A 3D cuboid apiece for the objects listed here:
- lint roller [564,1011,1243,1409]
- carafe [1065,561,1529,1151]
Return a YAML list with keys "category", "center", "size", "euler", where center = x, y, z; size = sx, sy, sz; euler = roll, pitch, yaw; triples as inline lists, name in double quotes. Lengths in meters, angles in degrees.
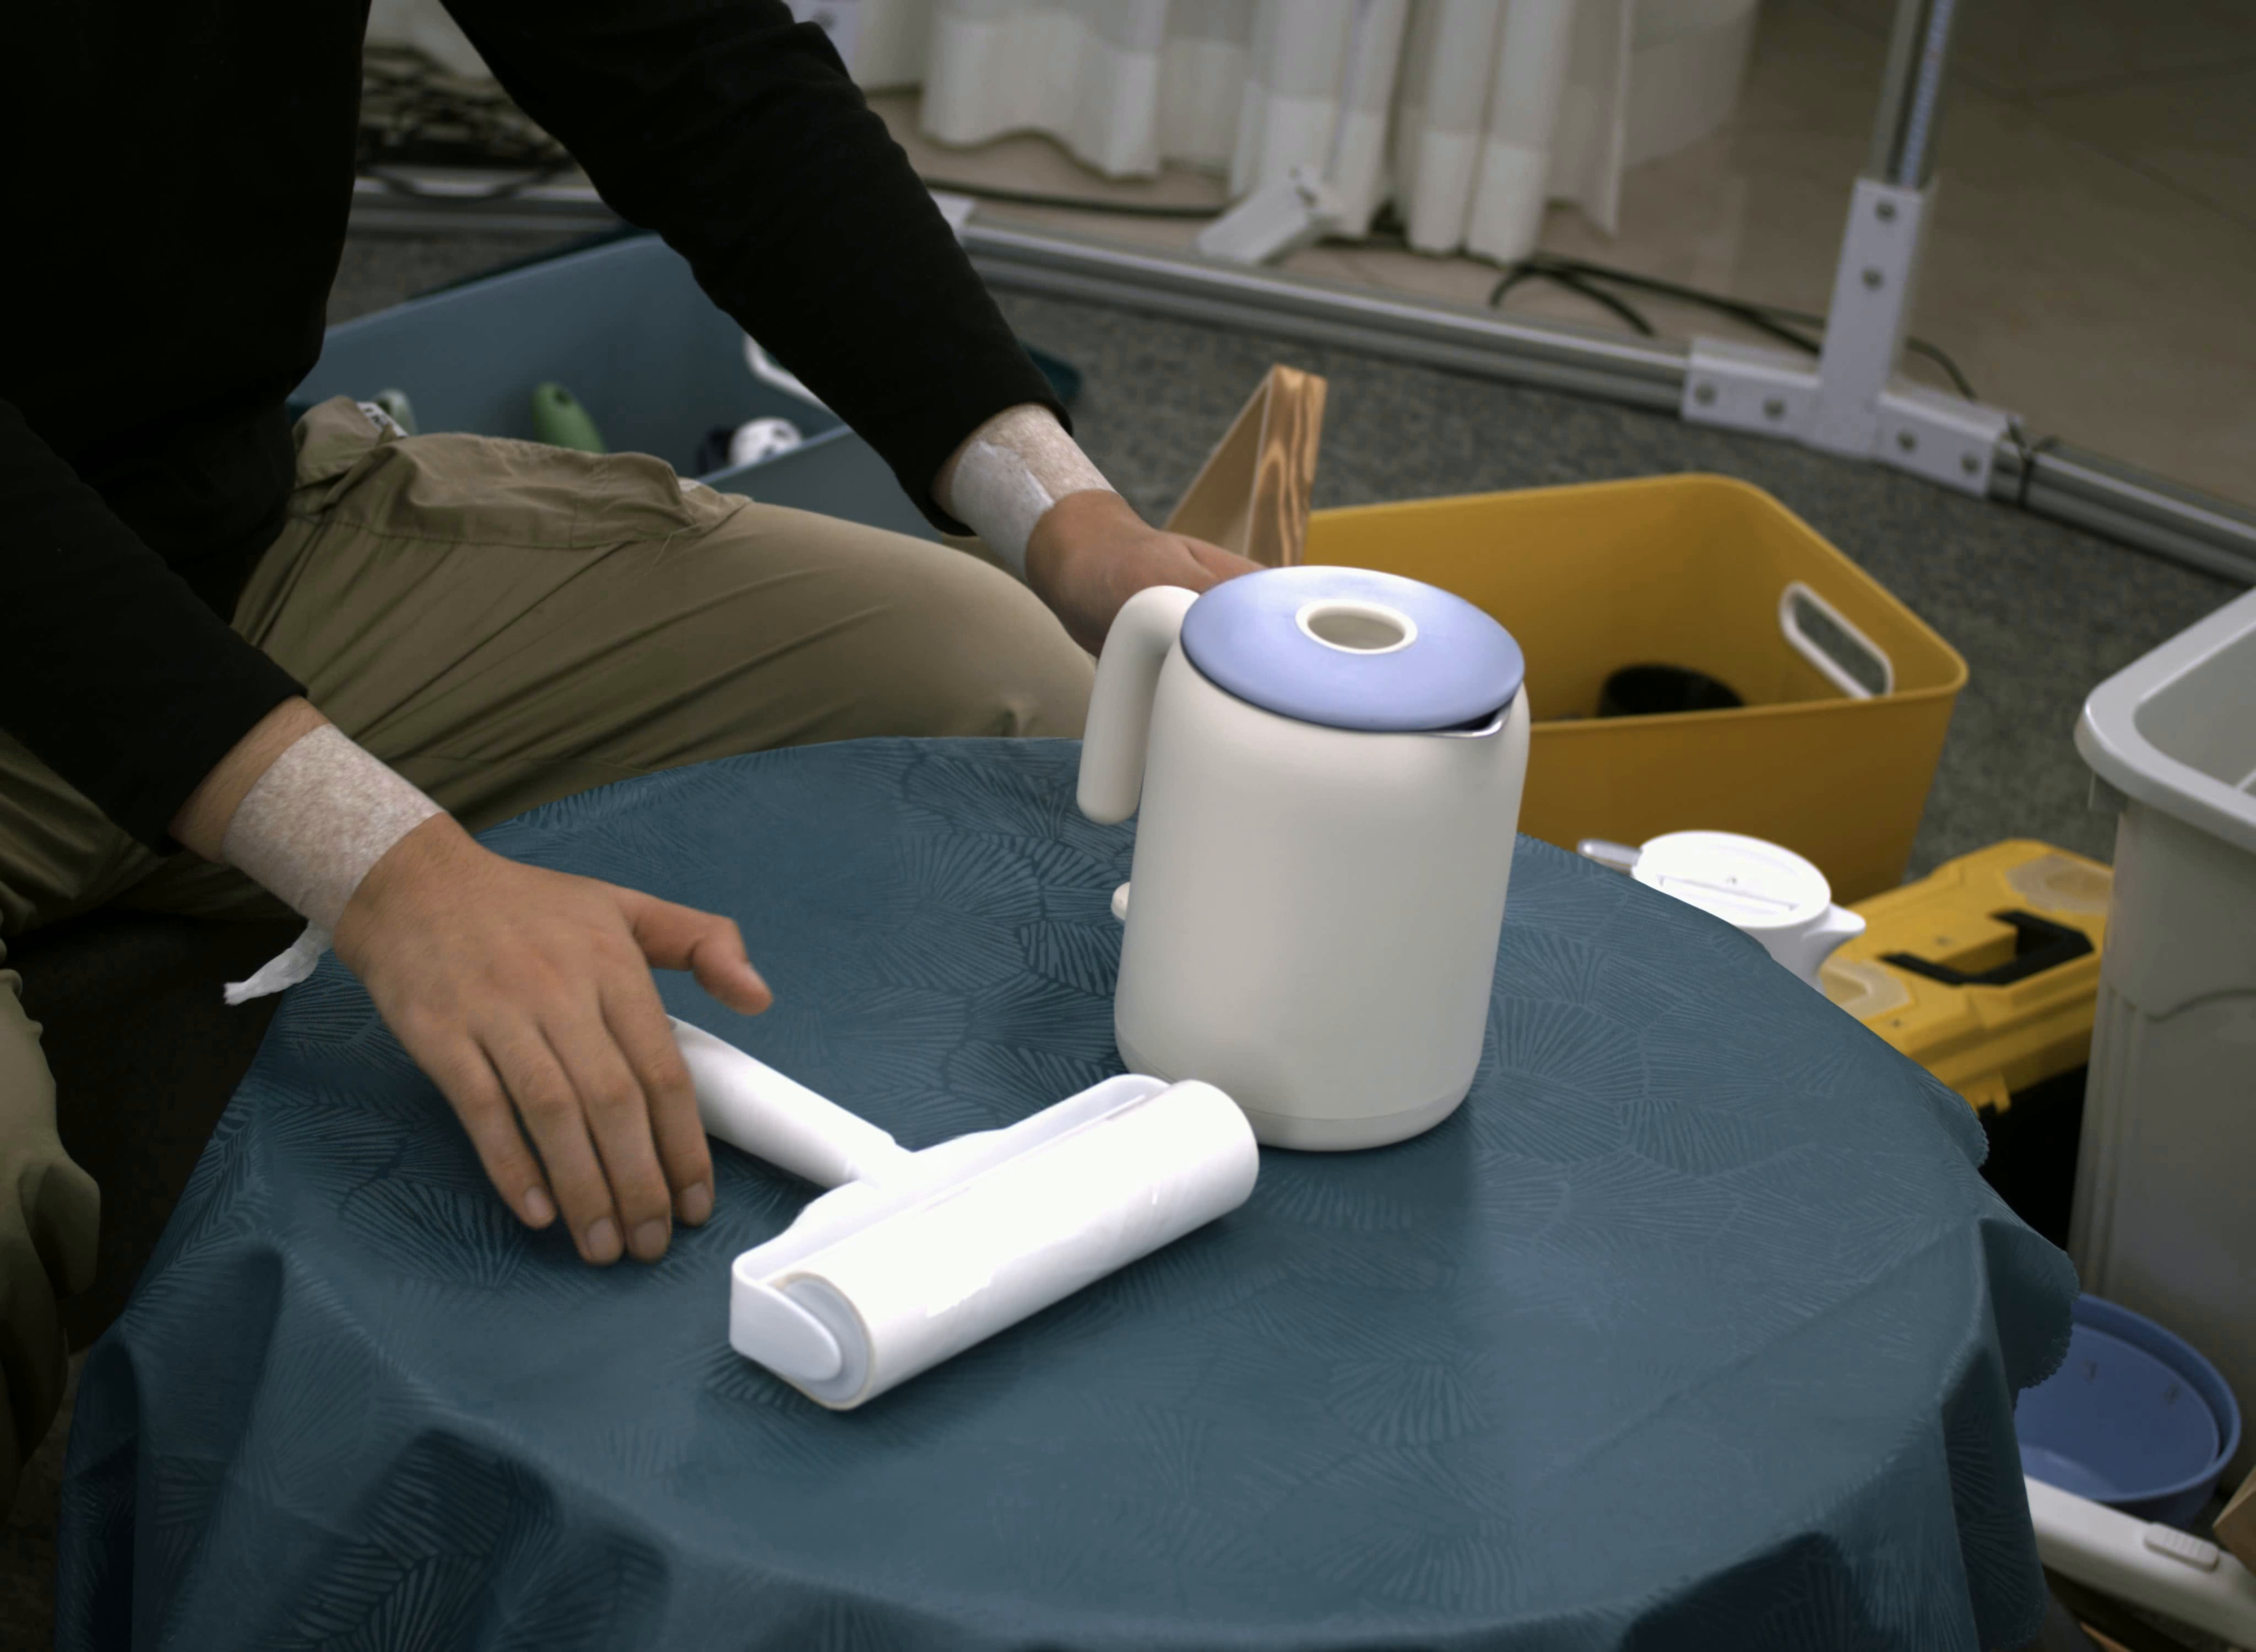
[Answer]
- category: "lint roller"
  center: [-0.105, 0.102, 1.774]
  size: [0.227, 0.048, 0.202]
  euler: [25, 33, 34]
- category: "carafe"
  center: [0.050, 0.001, 1.866]
  size: [0.131, 0.182, 0.192]
  euler: [-18, 34, -41]
